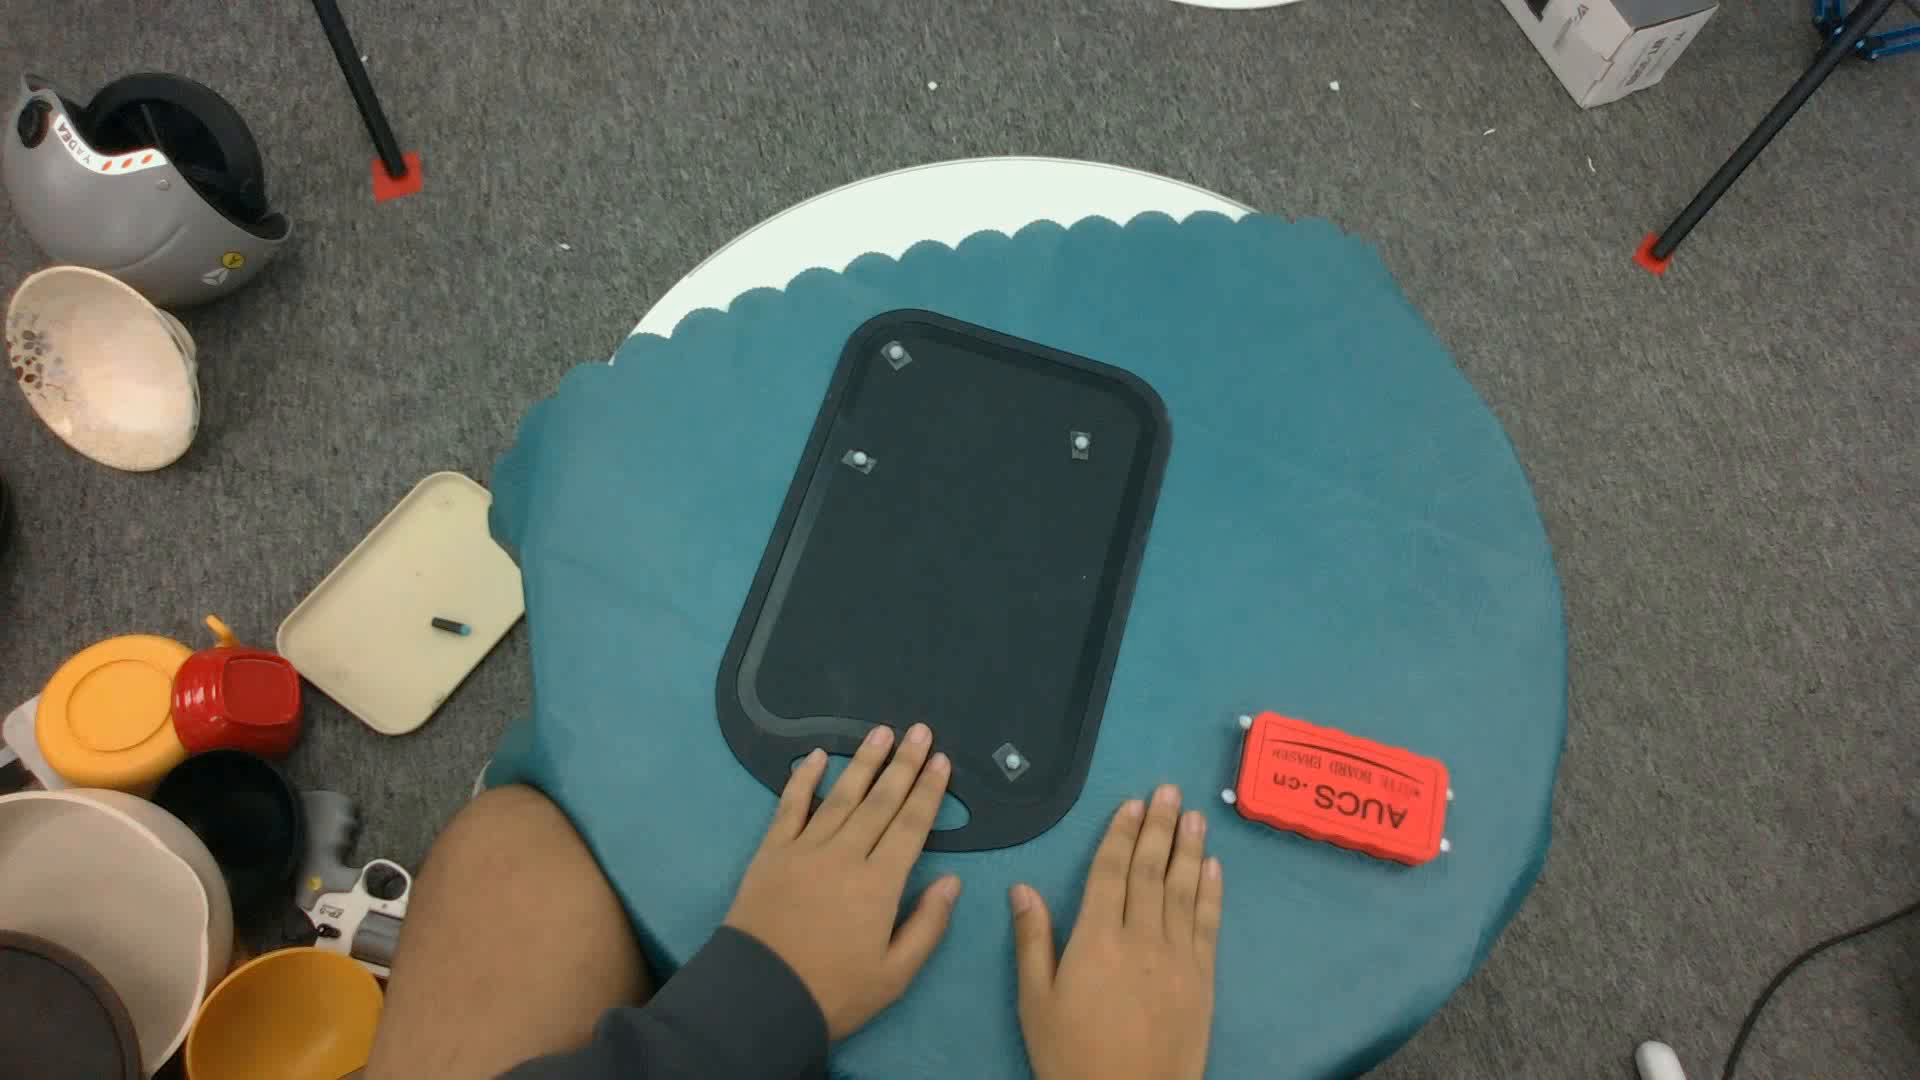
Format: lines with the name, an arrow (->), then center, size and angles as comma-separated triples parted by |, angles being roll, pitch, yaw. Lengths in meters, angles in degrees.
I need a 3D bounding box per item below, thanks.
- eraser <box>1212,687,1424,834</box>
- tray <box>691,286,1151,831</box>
eraser -> 0.194, 0.120, 0.748 | 0.108, 0.023, 0.059 | 14, 65, 1
tray -> -0.017, 0.003, 0.786 | 0.211, 0.010, 0.326 | 17, 66, 1
